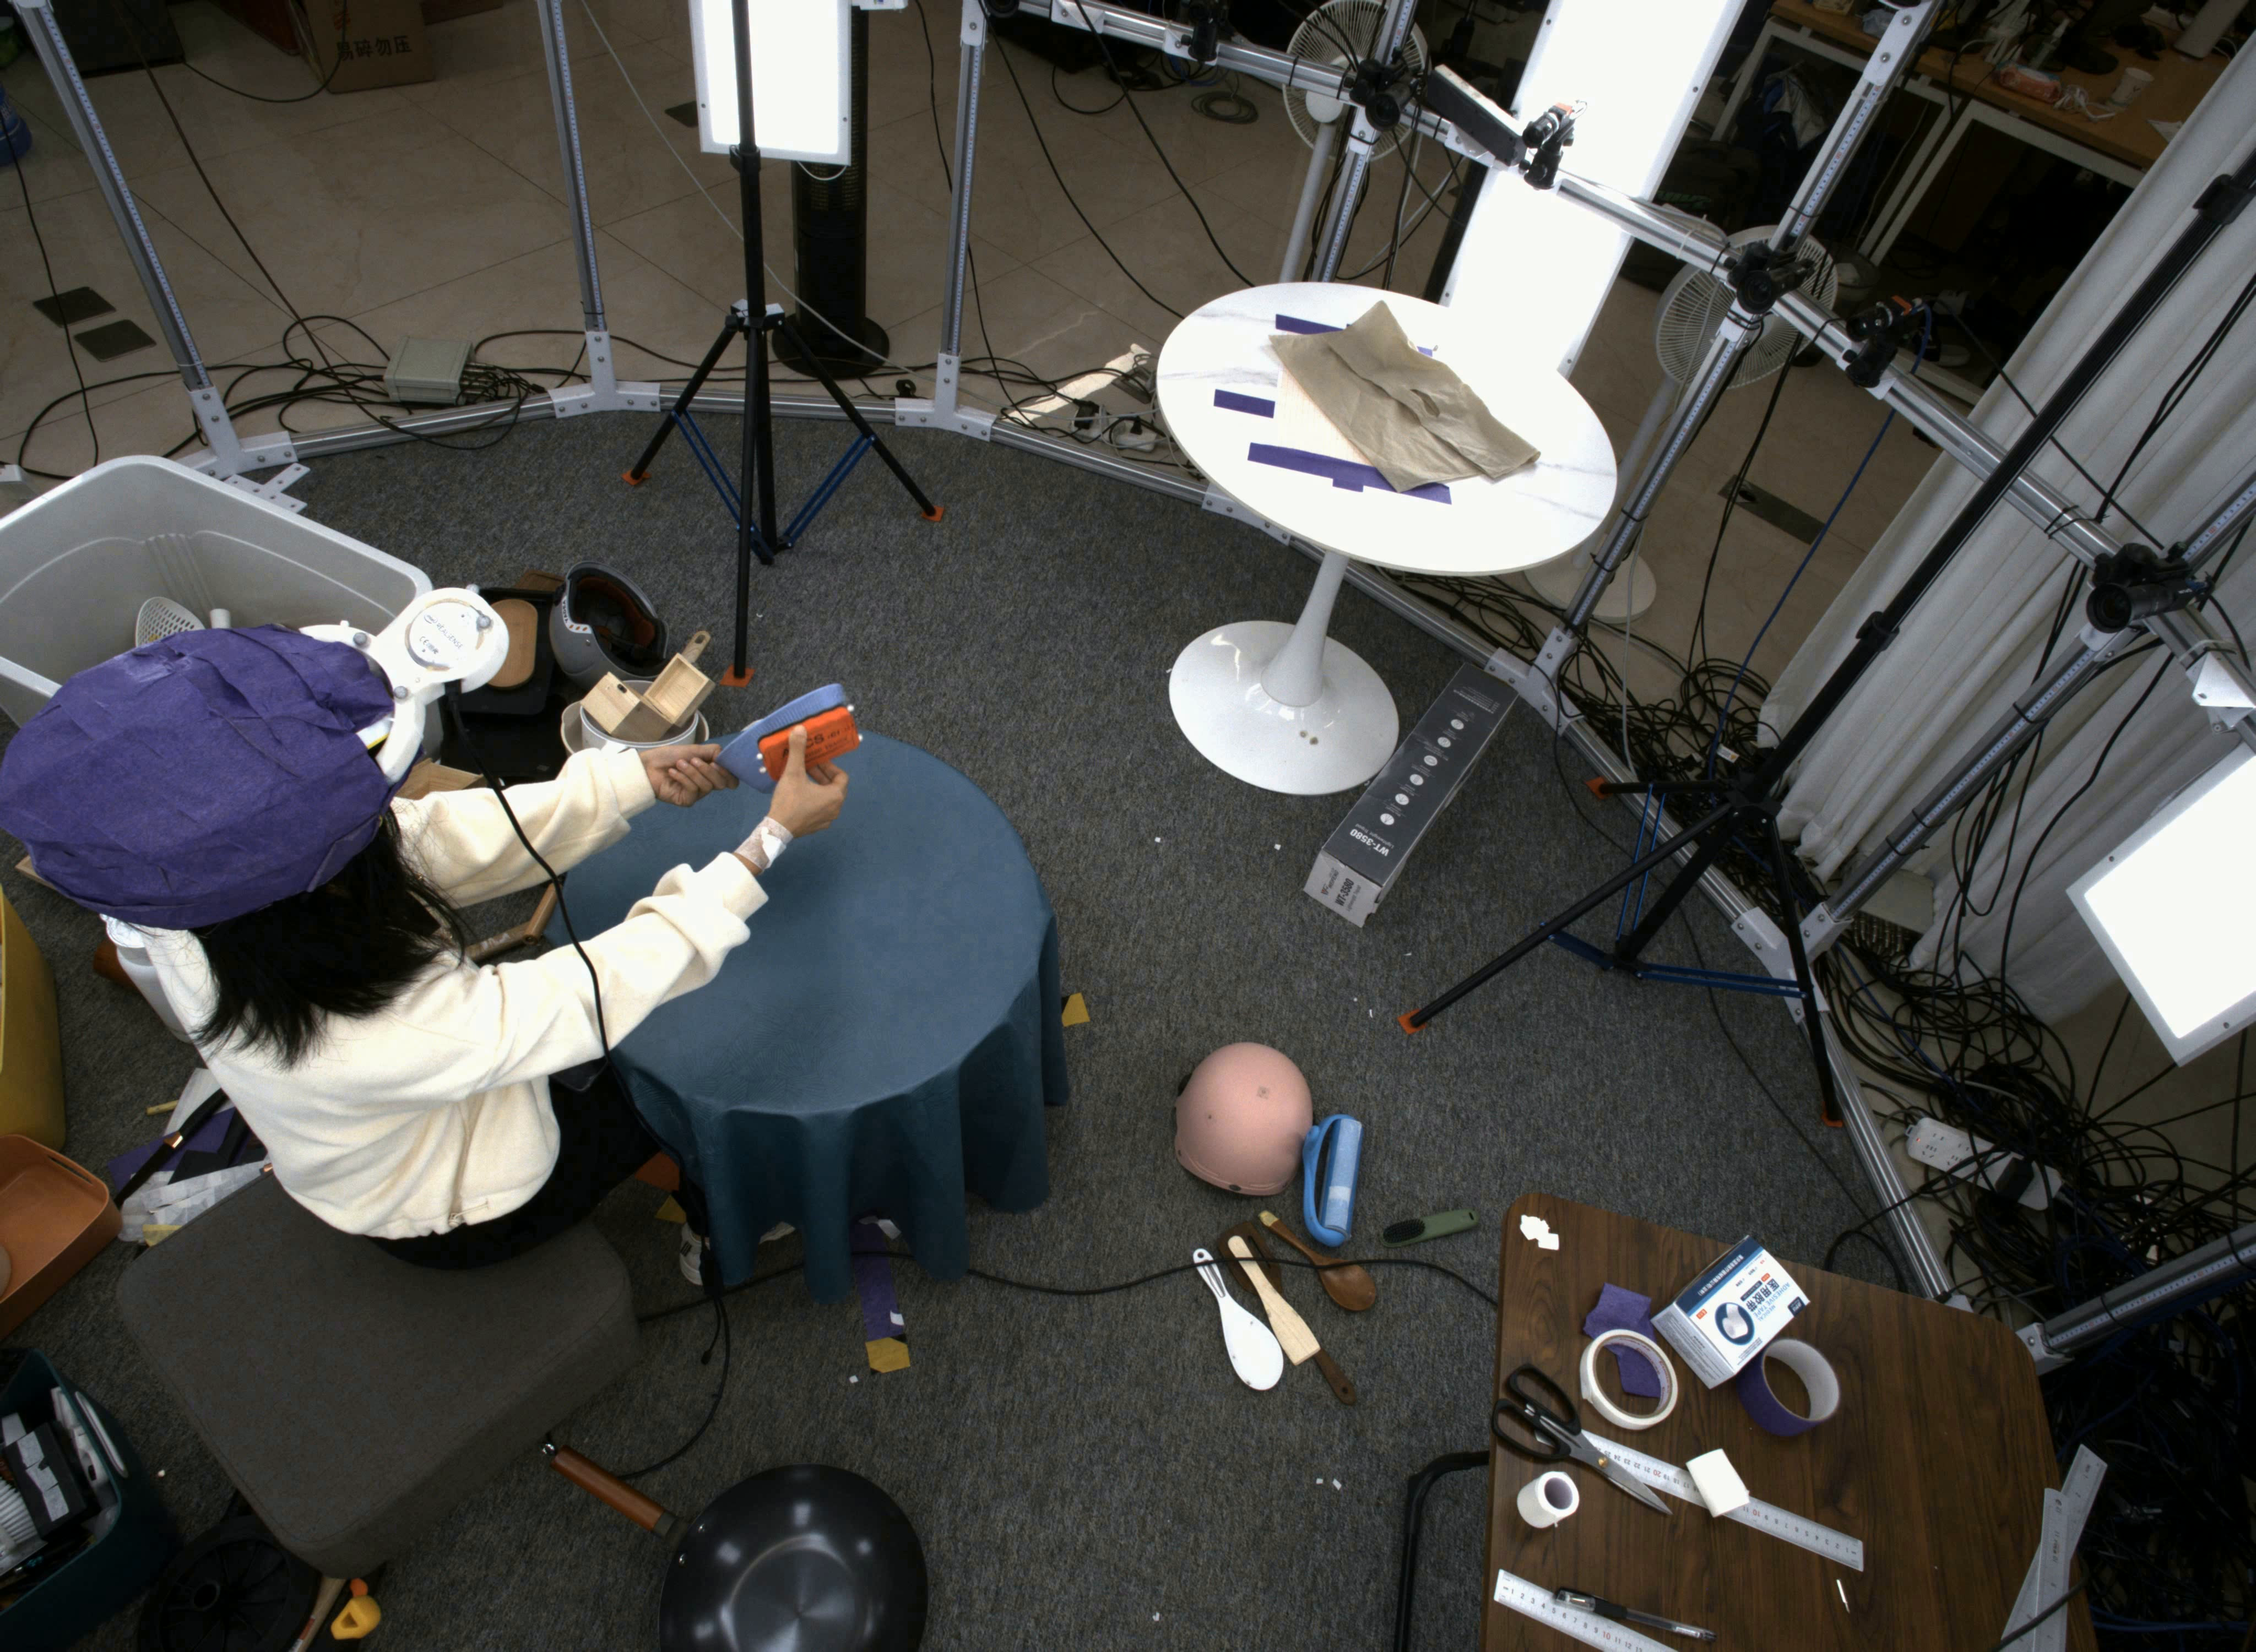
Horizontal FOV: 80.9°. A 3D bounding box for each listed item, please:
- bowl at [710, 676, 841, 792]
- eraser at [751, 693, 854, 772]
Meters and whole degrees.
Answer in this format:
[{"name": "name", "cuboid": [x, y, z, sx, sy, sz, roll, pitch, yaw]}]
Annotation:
[{"name": "bowl", "cuboid": [-0.406, -0.100, 1.543, 0.176, 0.174, 0.071, -37, 94, -34]}, {"name": "eraser", "cuboid": [-0.360, -0.103, 1.432, 0.108, 0.060, 0.022, -26, 58, -20]}]
